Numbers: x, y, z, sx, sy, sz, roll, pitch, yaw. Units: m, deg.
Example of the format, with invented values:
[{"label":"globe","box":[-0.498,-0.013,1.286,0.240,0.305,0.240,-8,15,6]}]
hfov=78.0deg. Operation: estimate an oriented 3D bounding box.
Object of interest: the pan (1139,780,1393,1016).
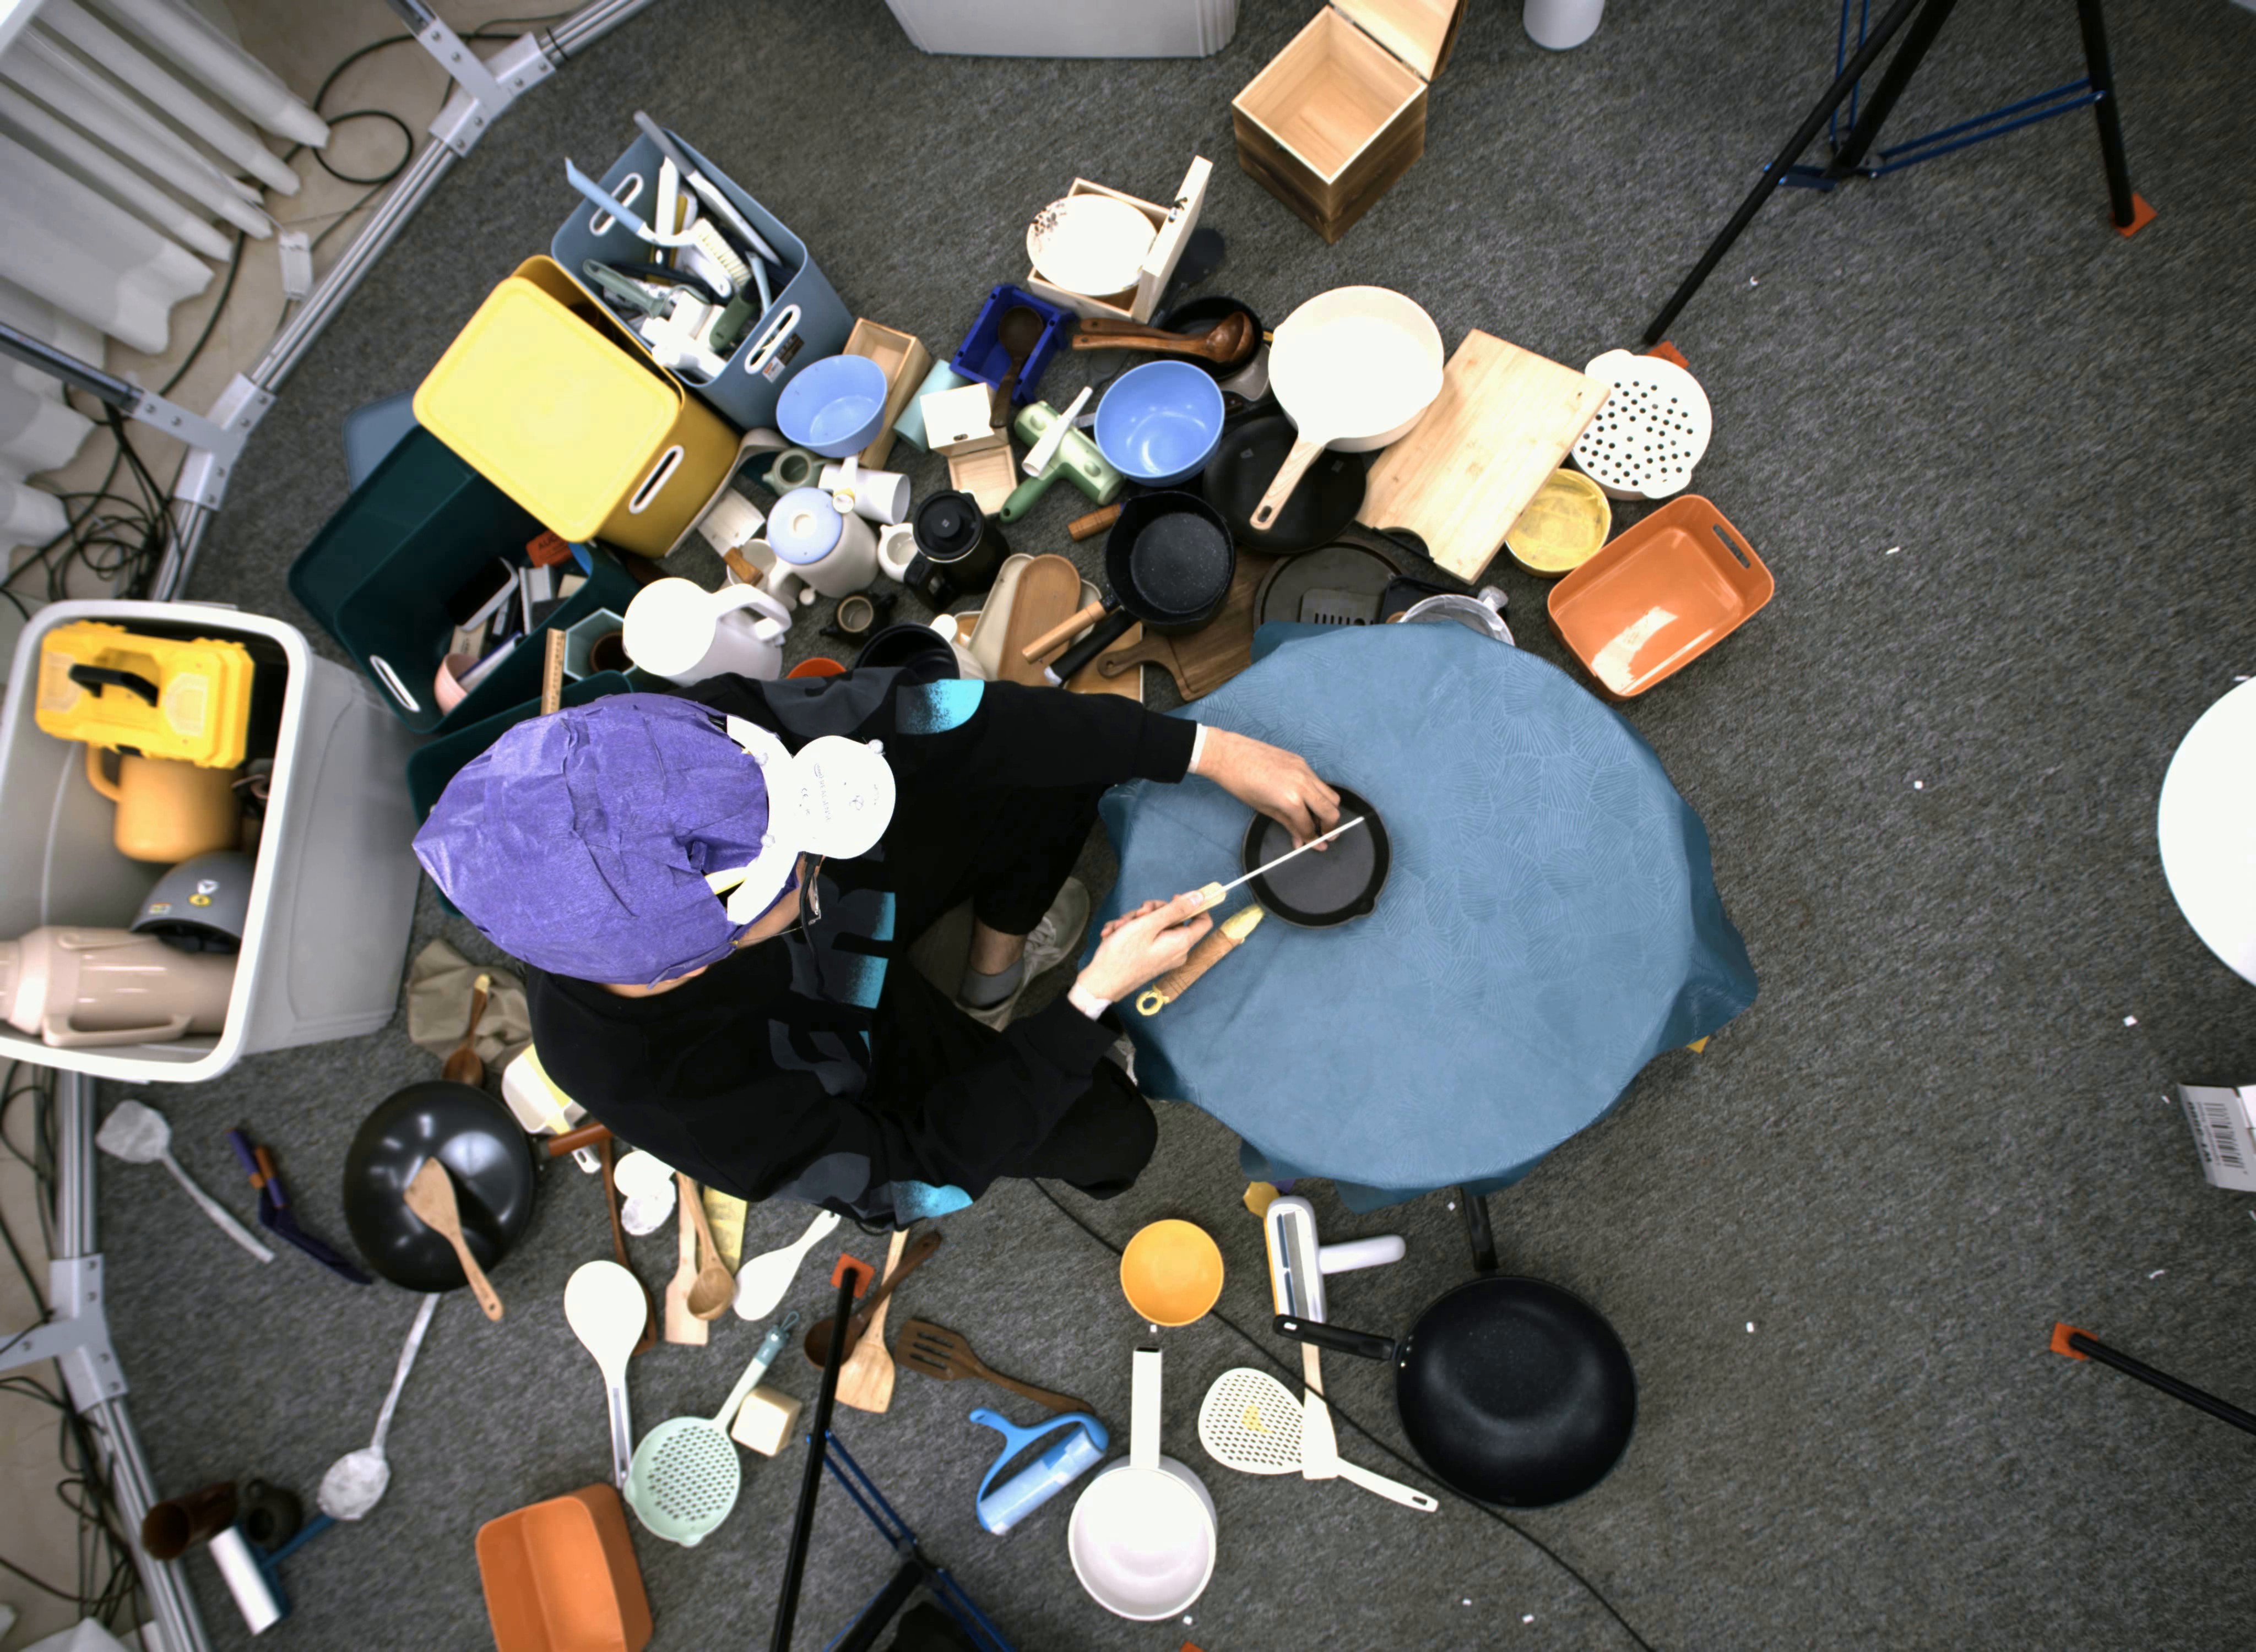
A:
[{"label":"pan","box":[0.136,0.086,1.459,0.325,0.049,0.168,-42,81,5]}]

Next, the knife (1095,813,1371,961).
[{"label":"knife","box":[0.108,0.055,1.375,0.313,0.115,0.021,-26,86,-11]}]
